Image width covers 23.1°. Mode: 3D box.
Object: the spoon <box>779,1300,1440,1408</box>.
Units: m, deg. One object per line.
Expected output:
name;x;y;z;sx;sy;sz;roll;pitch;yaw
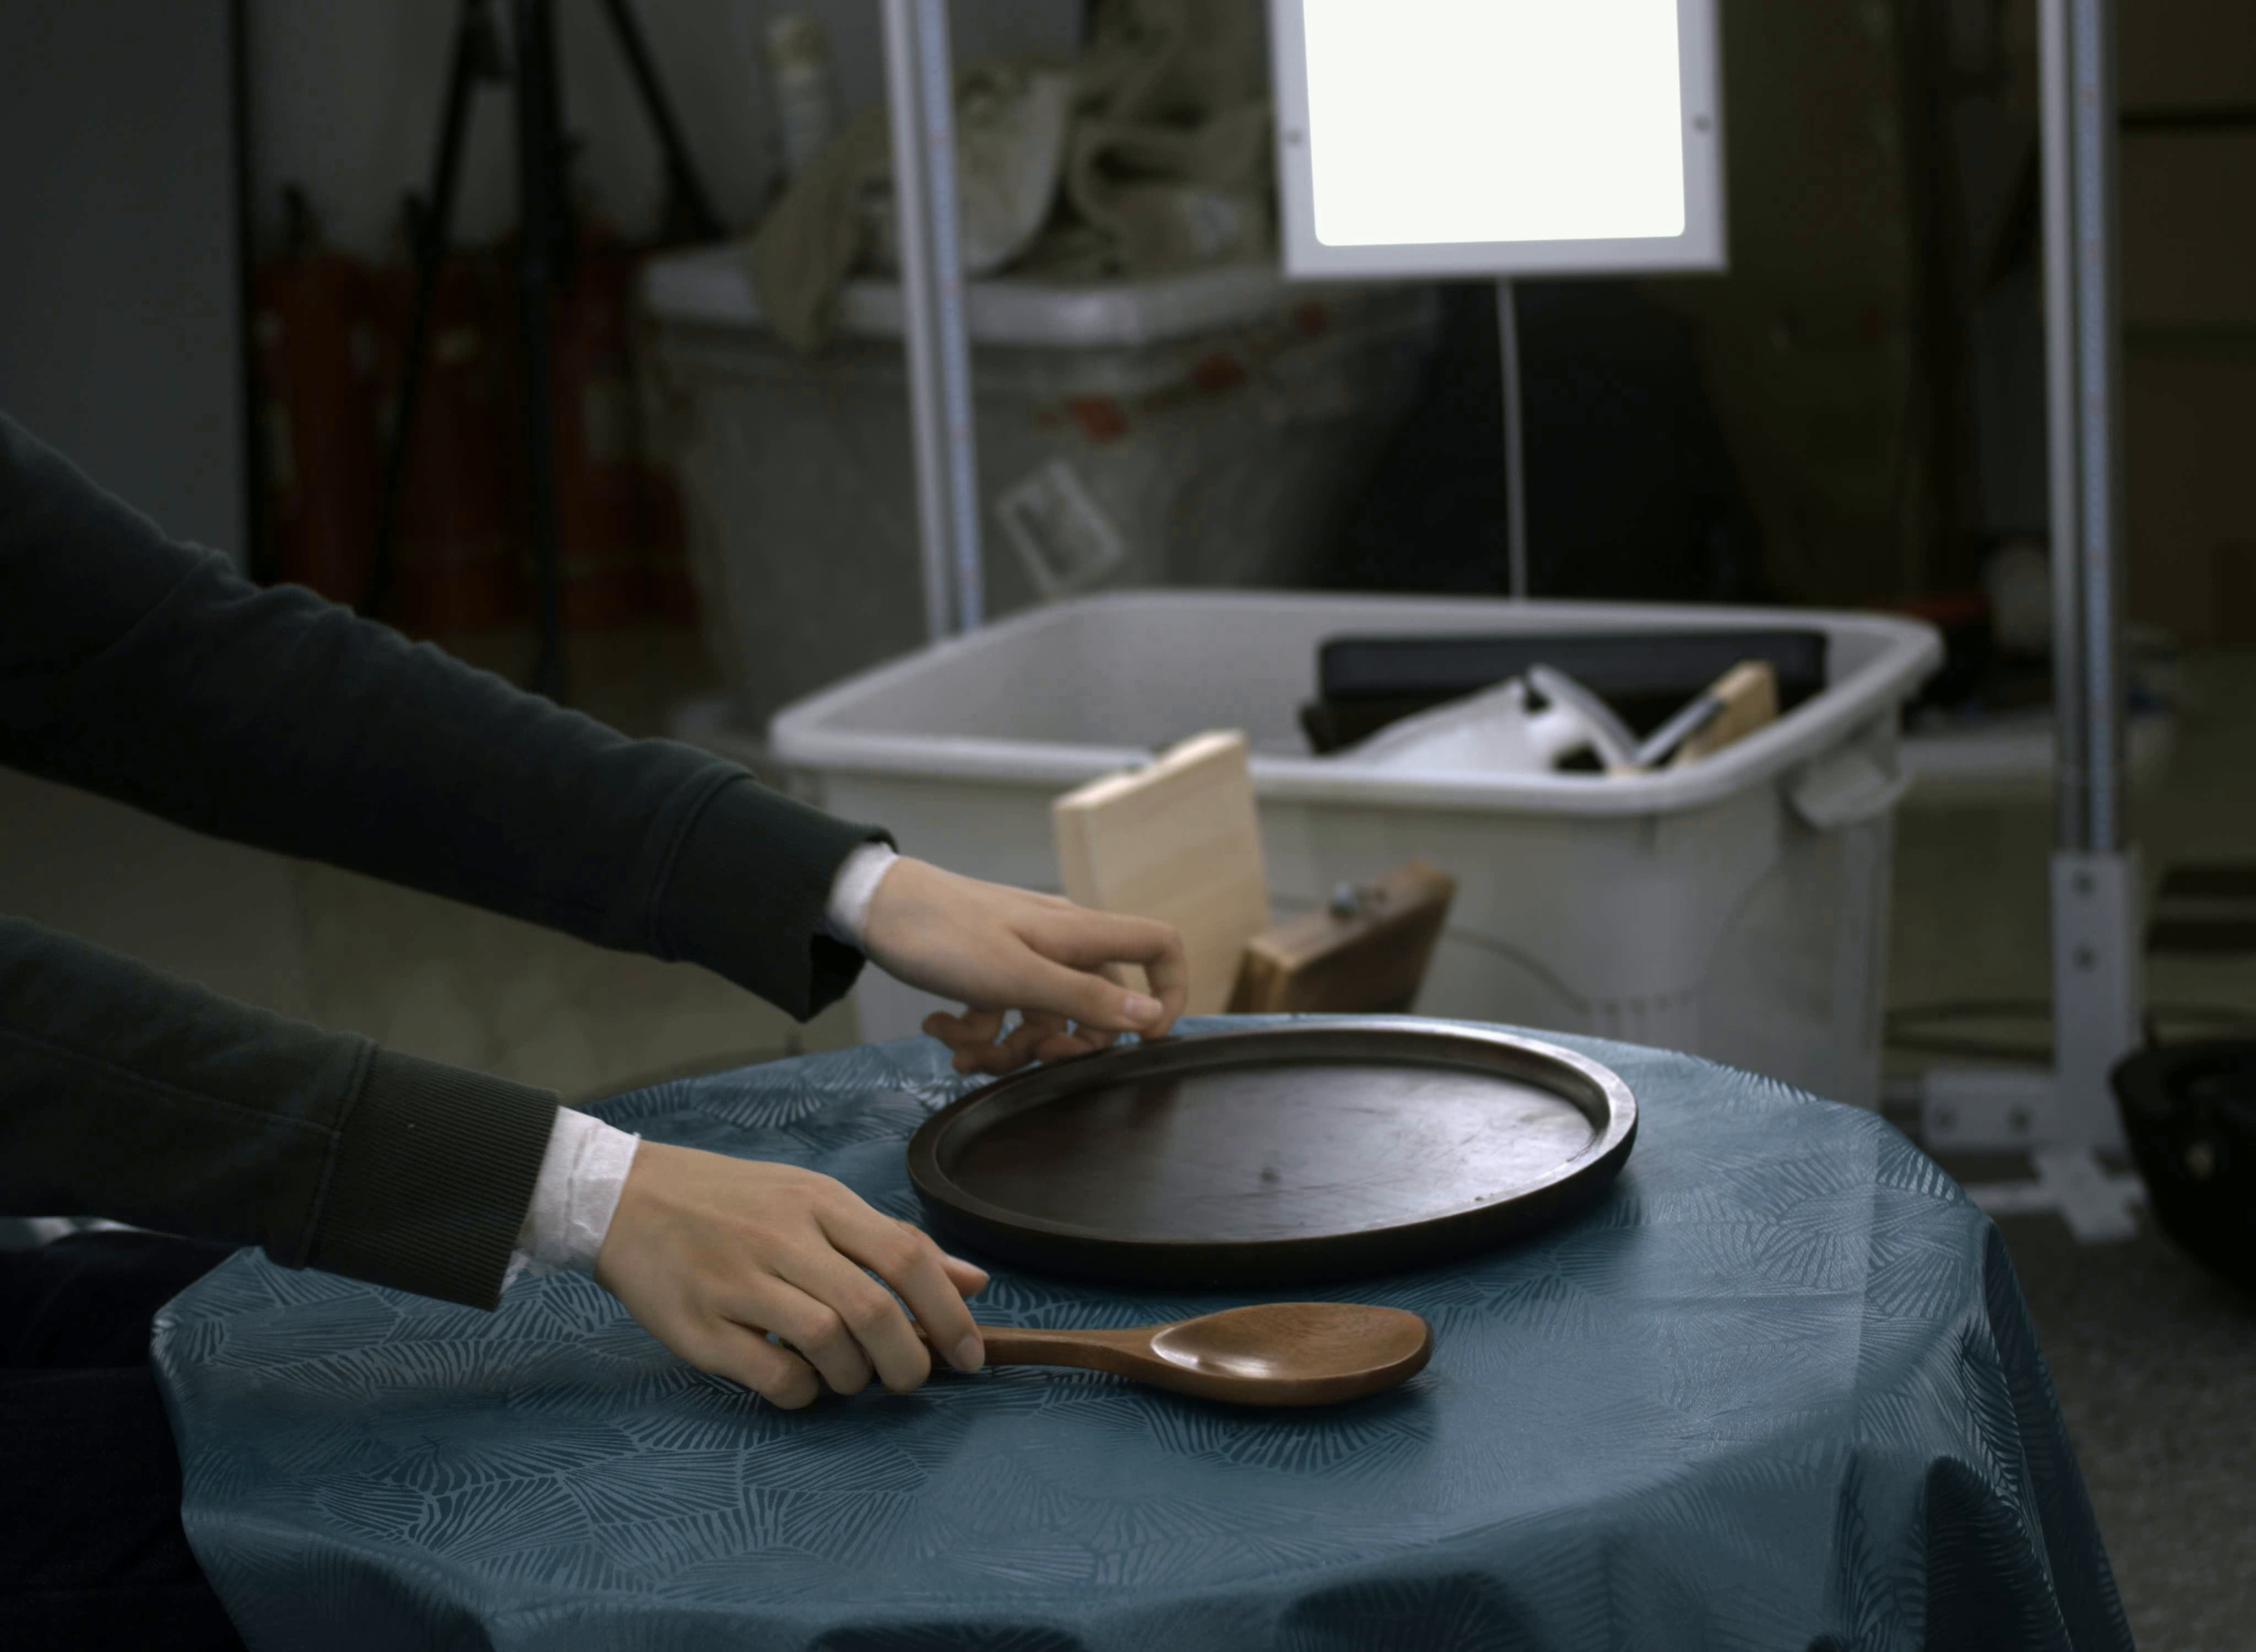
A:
spoon;-0.007;0.163;1.713;0.219;0.017;0.074;1;15;21

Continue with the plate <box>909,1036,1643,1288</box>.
plate;0.051;0.113;1.890;0.254;0.029;0.254;-4;13;0
